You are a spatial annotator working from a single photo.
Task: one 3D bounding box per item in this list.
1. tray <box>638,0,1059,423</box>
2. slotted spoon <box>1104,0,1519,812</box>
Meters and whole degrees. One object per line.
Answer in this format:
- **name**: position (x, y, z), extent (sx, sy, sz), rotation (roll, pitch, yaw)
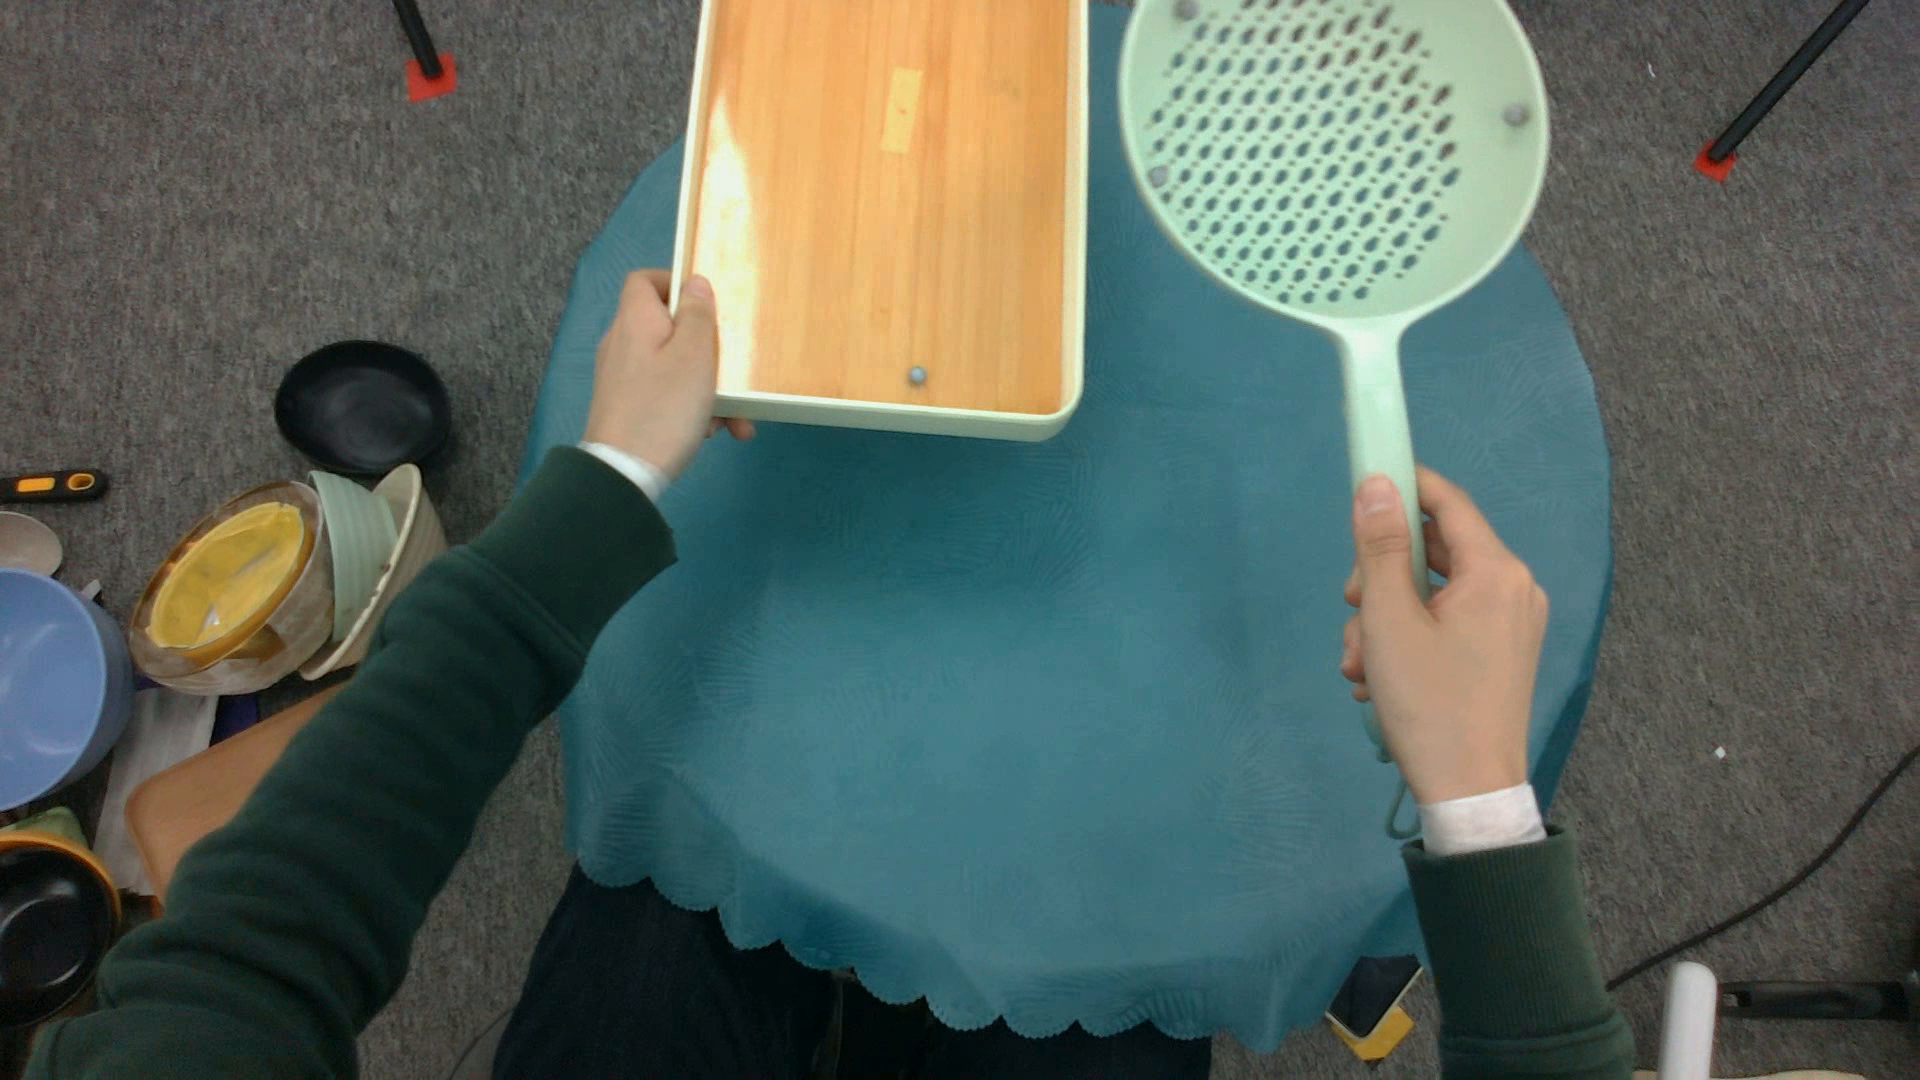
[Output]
- **tray**: position (-0.048, -0.204, 0.674), extent (0.192, 0.027, 0.301), rotation (4, 70, -8)
- **slotted spoon**: position (0.148, -0.077, 0.540), extent (0.169, 0.075, 0.359), rotation (-5, 76, -6)
